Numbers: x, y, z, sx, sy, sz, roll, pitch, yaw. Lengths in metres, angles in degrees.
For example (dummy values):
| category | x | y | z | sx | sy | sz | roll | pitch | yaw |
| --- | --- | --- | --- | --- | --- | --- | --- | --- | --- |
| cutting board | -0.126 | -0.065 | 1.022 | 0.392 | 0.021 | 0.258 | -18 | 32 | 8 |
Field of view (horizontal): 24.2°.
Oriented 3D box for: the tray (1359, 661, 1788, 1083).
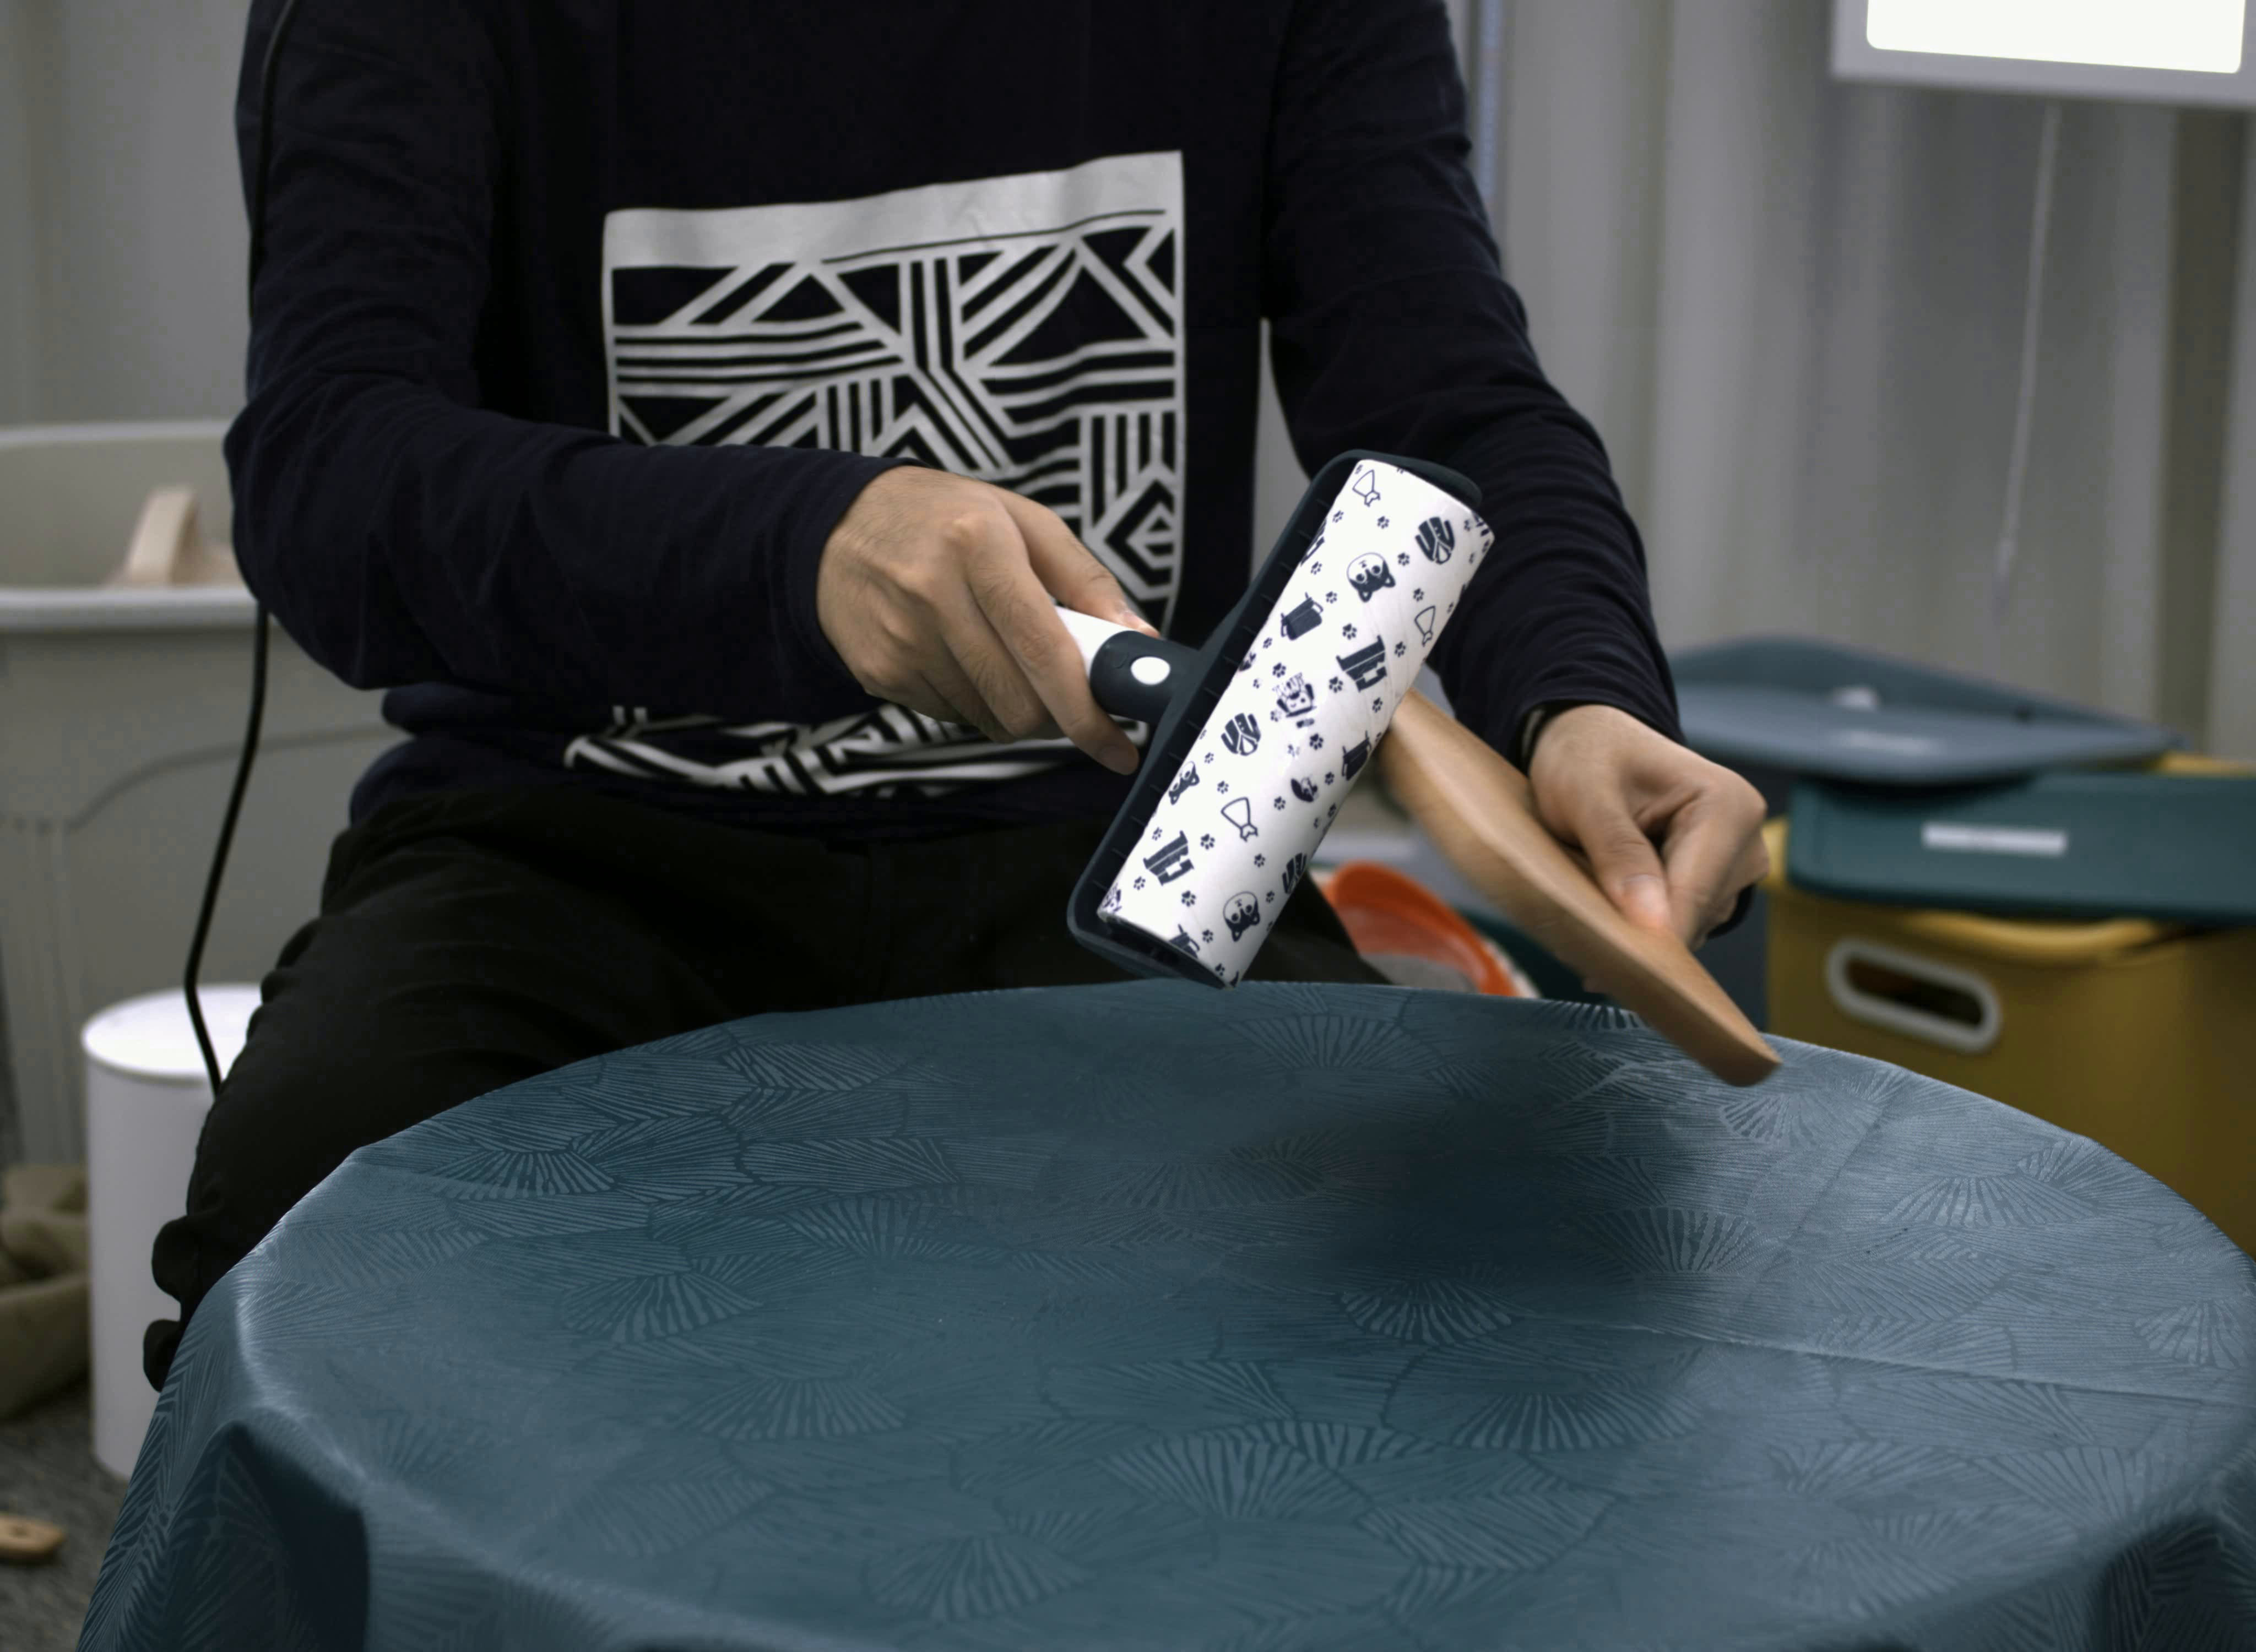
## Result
| category | x | y | z | sx | sy | sz | roll | pitch | yaw |
| --- | --- | --- | --- | --- | --- | --- | --- | --- | --- |
| tray | 0.123 | 0.003 | 1.615 | 0.132 | 0.023 | 0.248 | 42 | 5 | -21 |

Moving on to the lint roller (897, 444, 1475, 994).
| category | x | y | z | sx | sy | sz | roll | pitch | yaw |
| --- | --- | --- | --- | --- | --- | --- | --- | --- | --- |
| lint roller | -0.009 | -0.049 | 1.659 | 0.051 | 0.176 | 0.244 | 34 | -10 | -36 |
